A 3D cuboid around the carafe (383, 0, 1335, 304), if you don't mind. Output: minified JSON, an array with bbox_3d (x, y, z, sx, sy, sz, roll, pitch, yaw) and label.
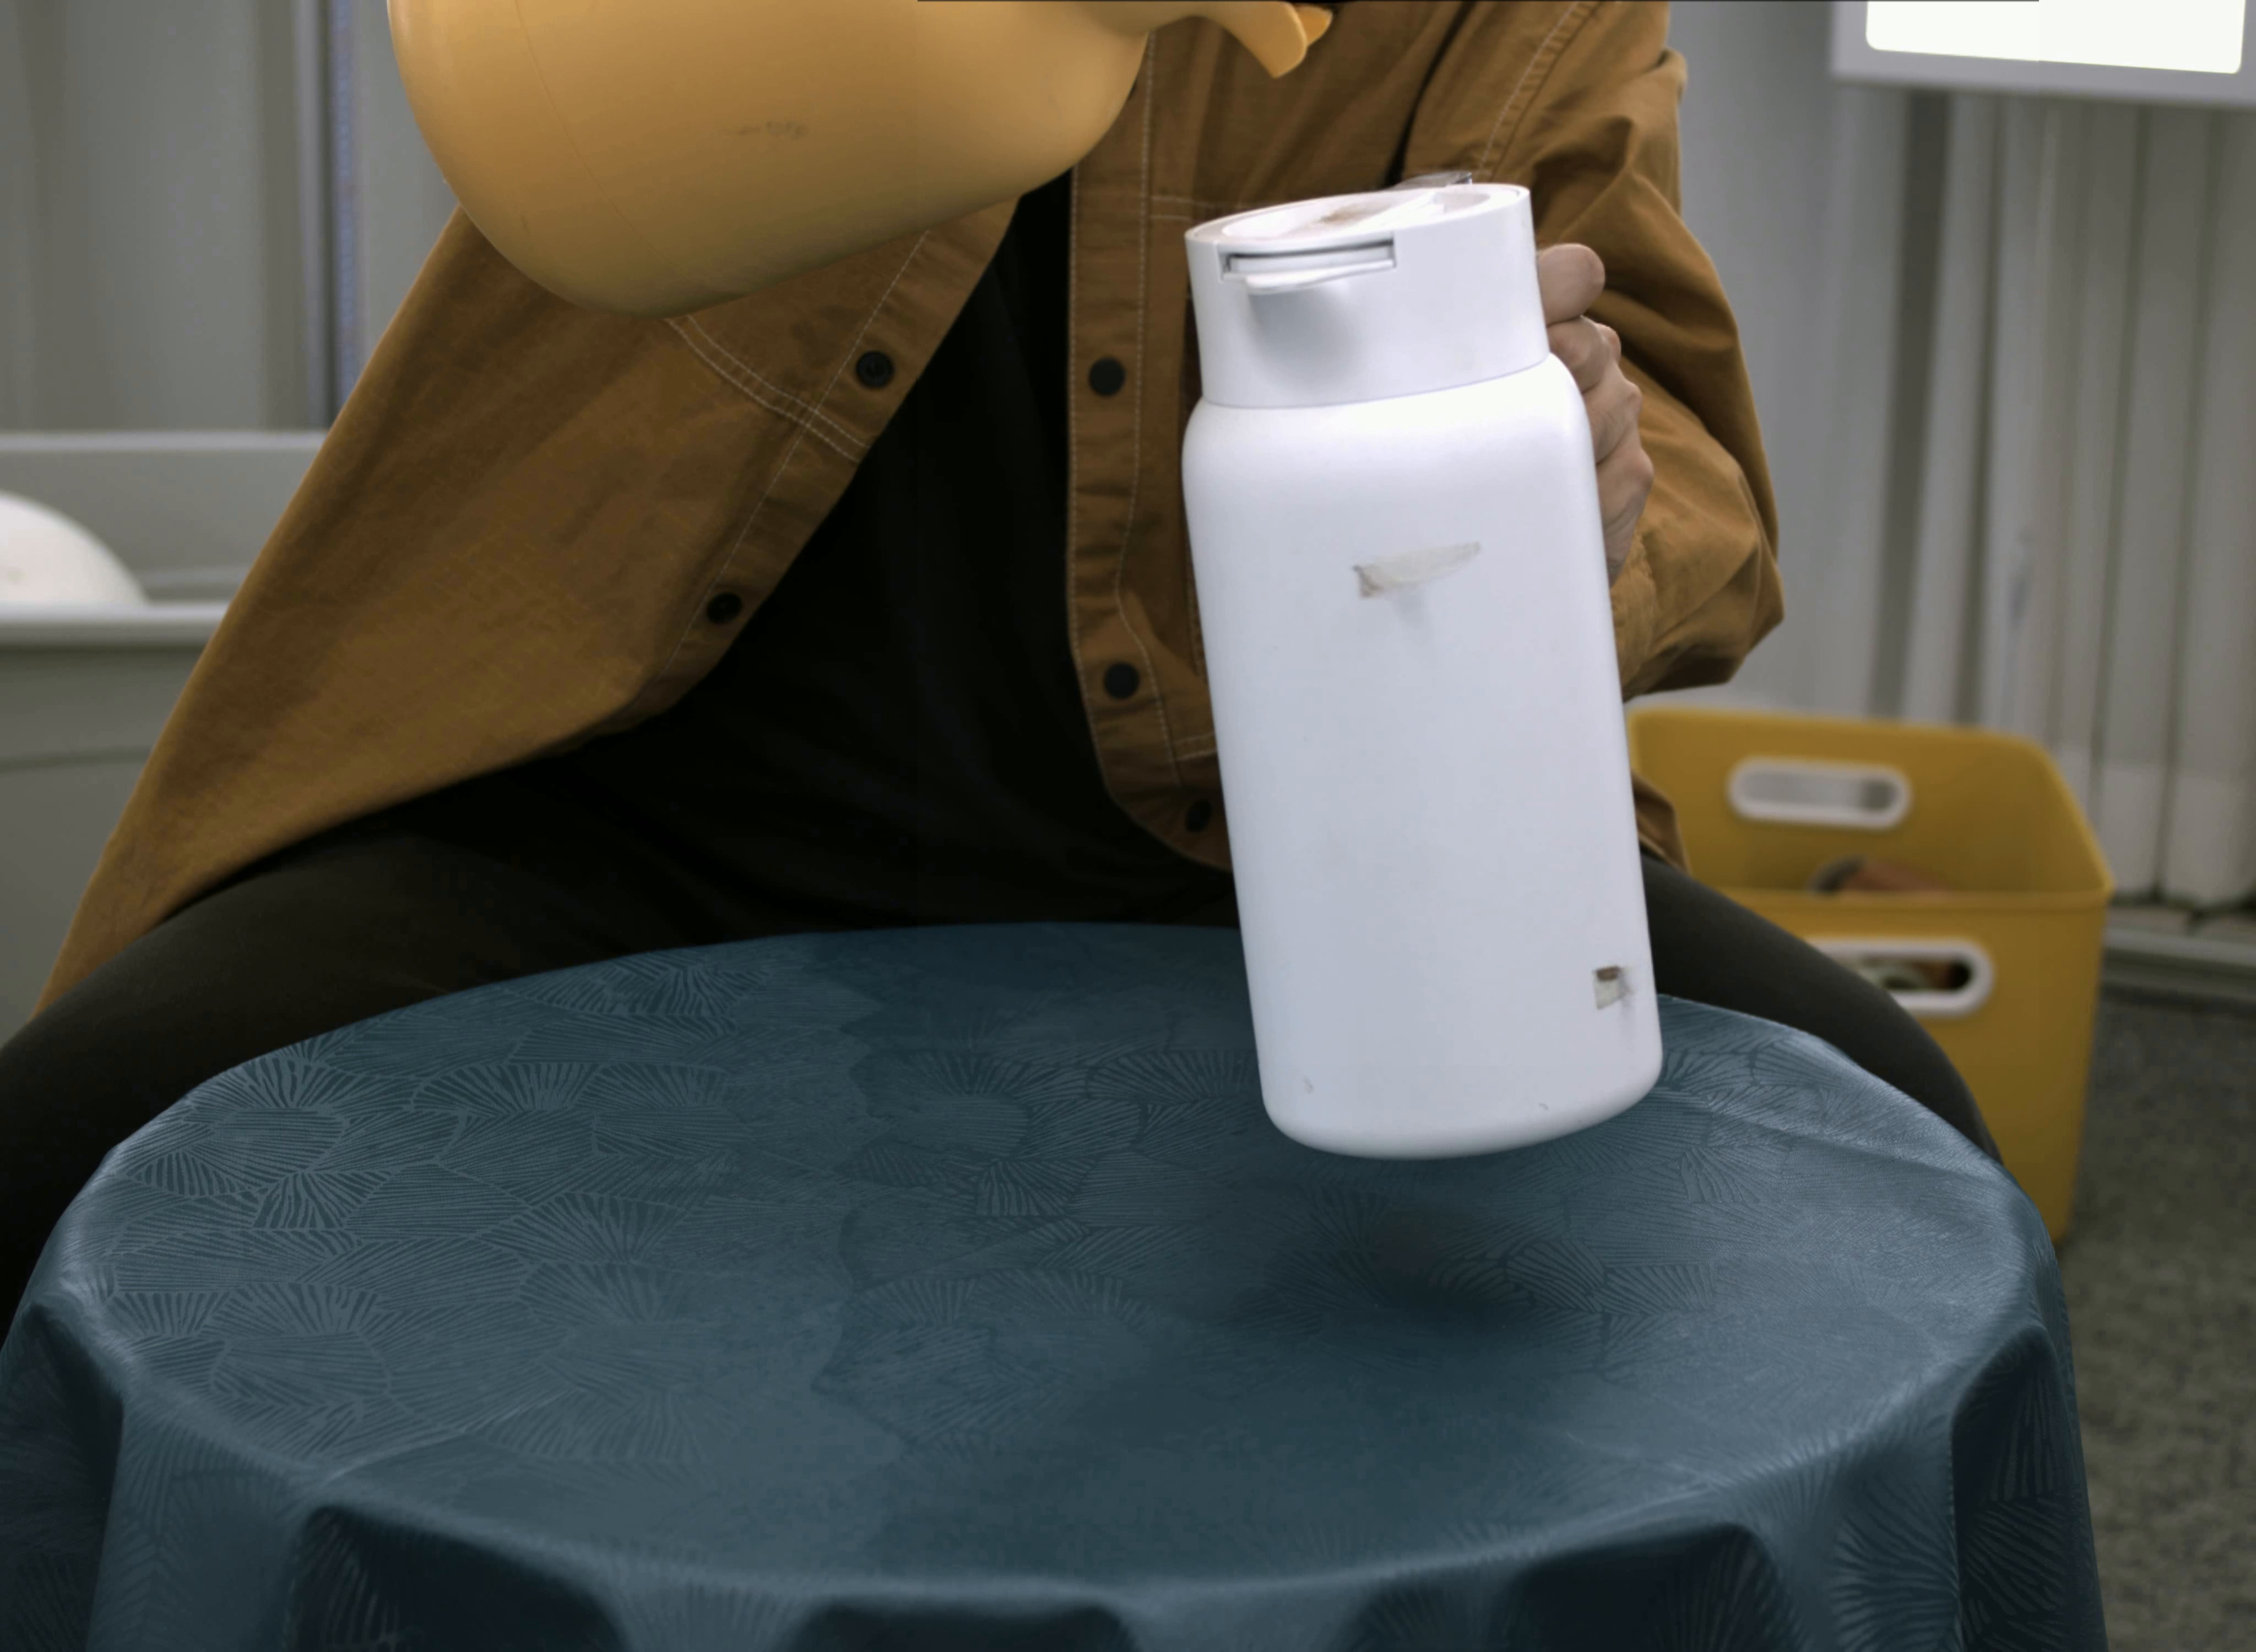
[{"bbox_3d":[-0.077,-0.269,1.465,0.258,0.204,0.163,-15,19,22],"label":"carafe"}]

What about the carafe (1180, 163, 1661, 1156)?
[{"bbox_3d":[0.086,-0.052,1.516,0.122,0.271,0.173,-4,13,24],"label":"carafe"}]
